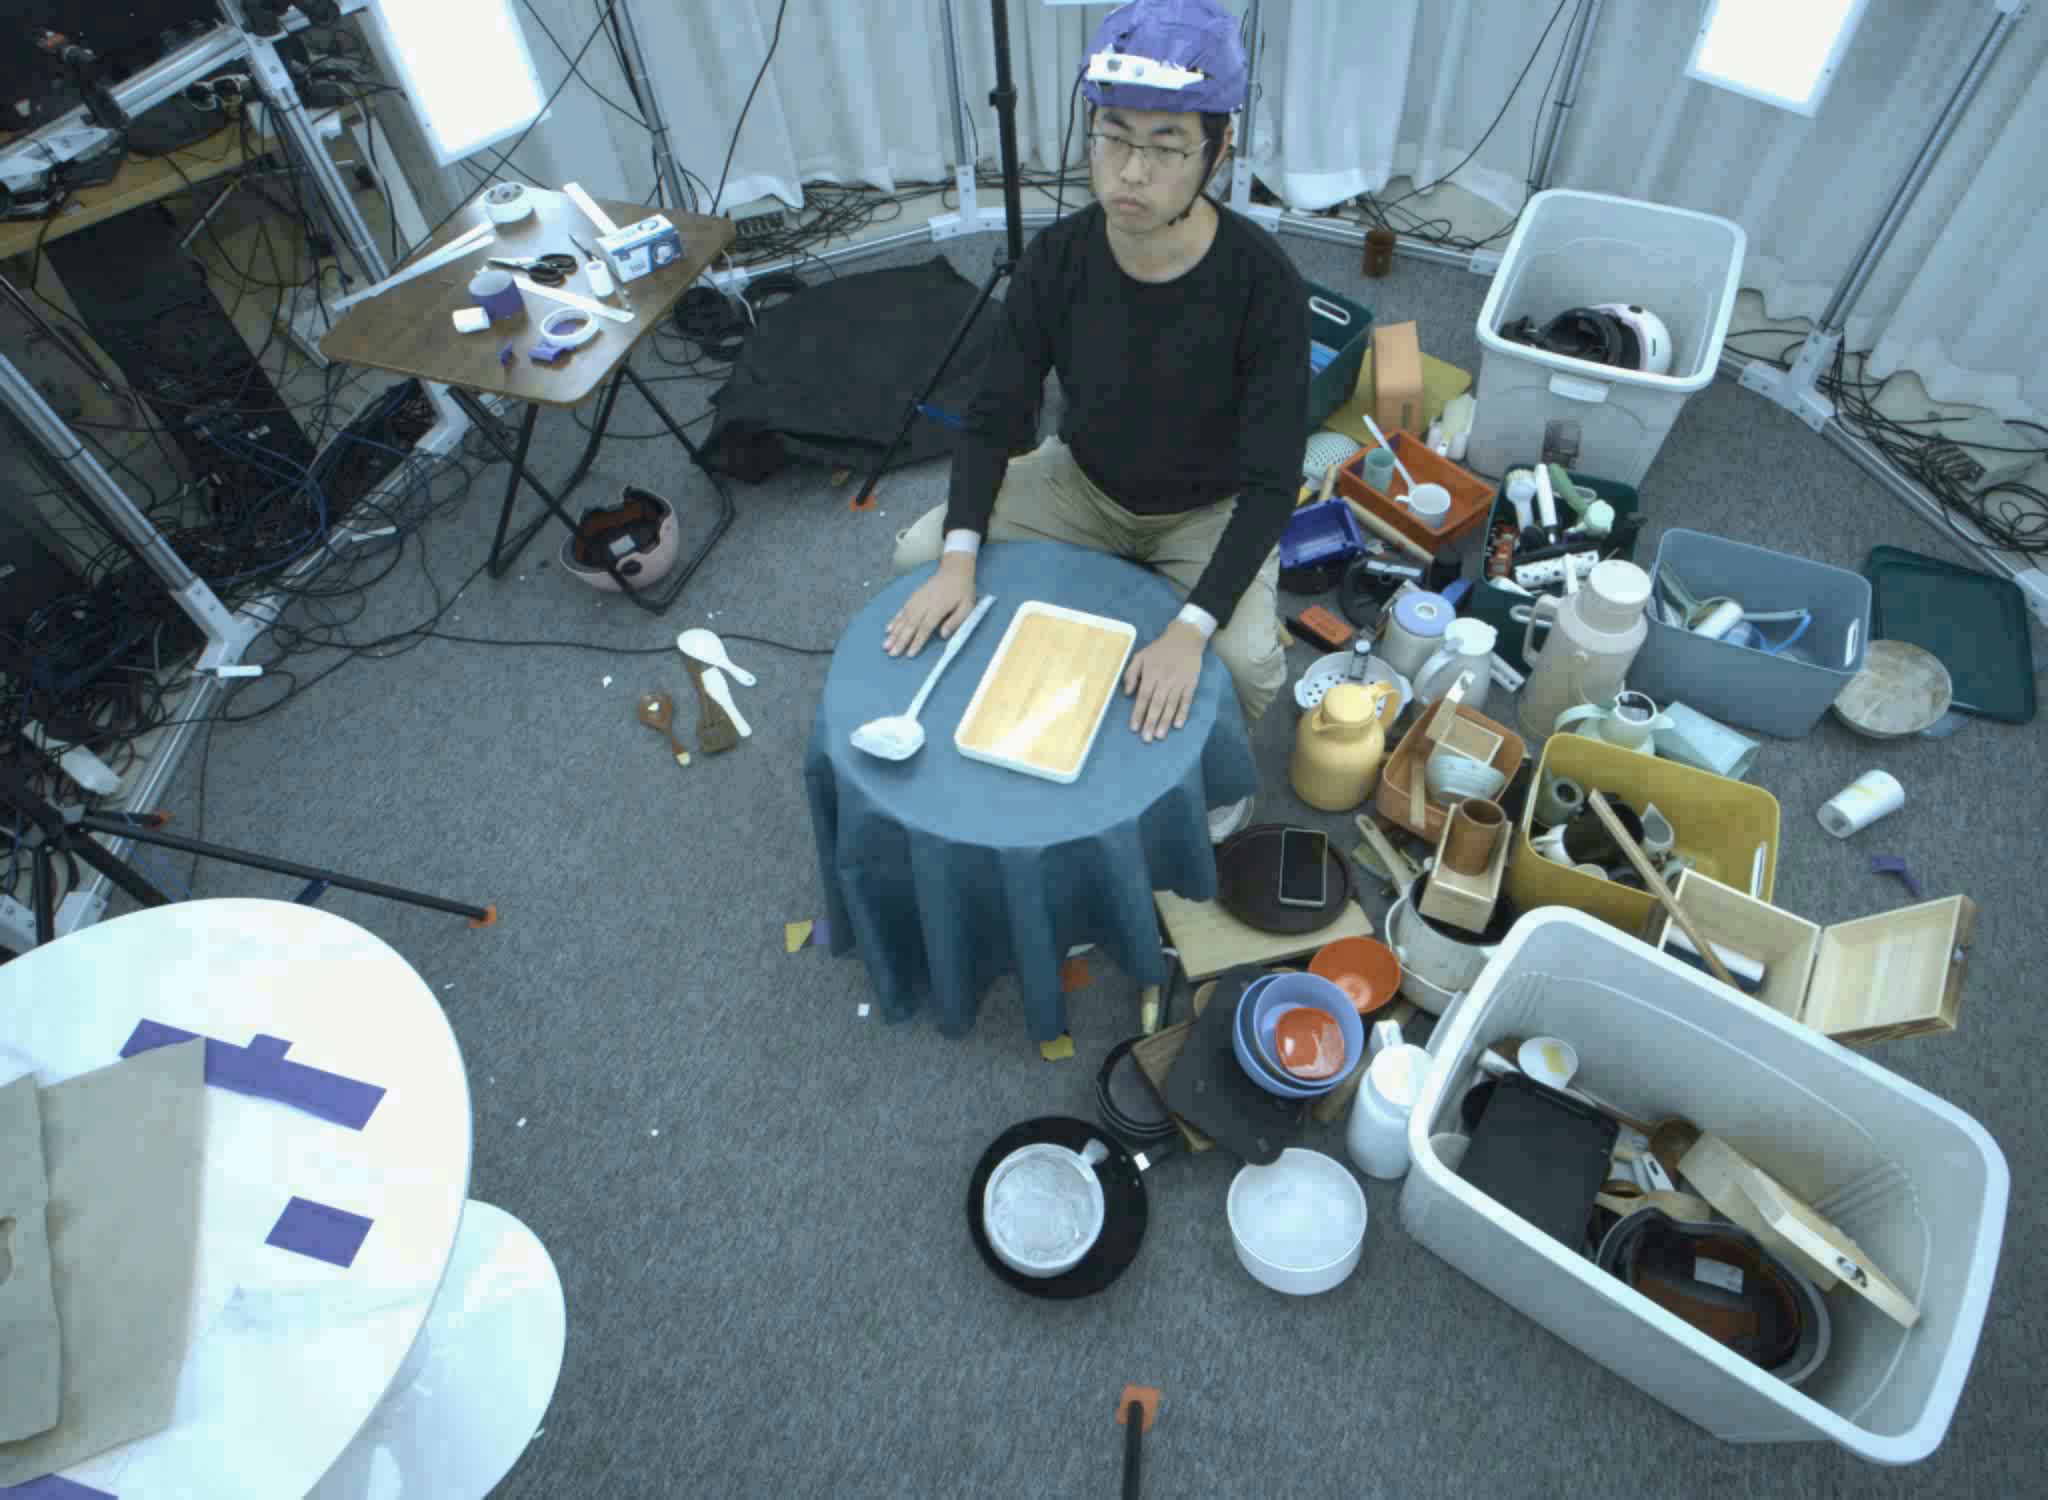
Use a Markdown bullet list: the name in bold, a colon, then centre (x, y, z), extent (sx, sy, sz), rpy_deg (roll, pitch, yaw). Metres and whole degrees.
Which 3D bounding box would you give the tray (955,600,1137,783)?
- **tray**: centre (0.037, -0.093, 1.835), extent (0.190, 0.028, 0.300), rpy_deg (16, 57, 13)

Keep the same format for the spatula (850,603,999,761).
- **spatula**: centre (-0.133, -0.115, 1.850), extent (0.097, 0.045, 0.365), rpy_deg (21, 58, 17)
